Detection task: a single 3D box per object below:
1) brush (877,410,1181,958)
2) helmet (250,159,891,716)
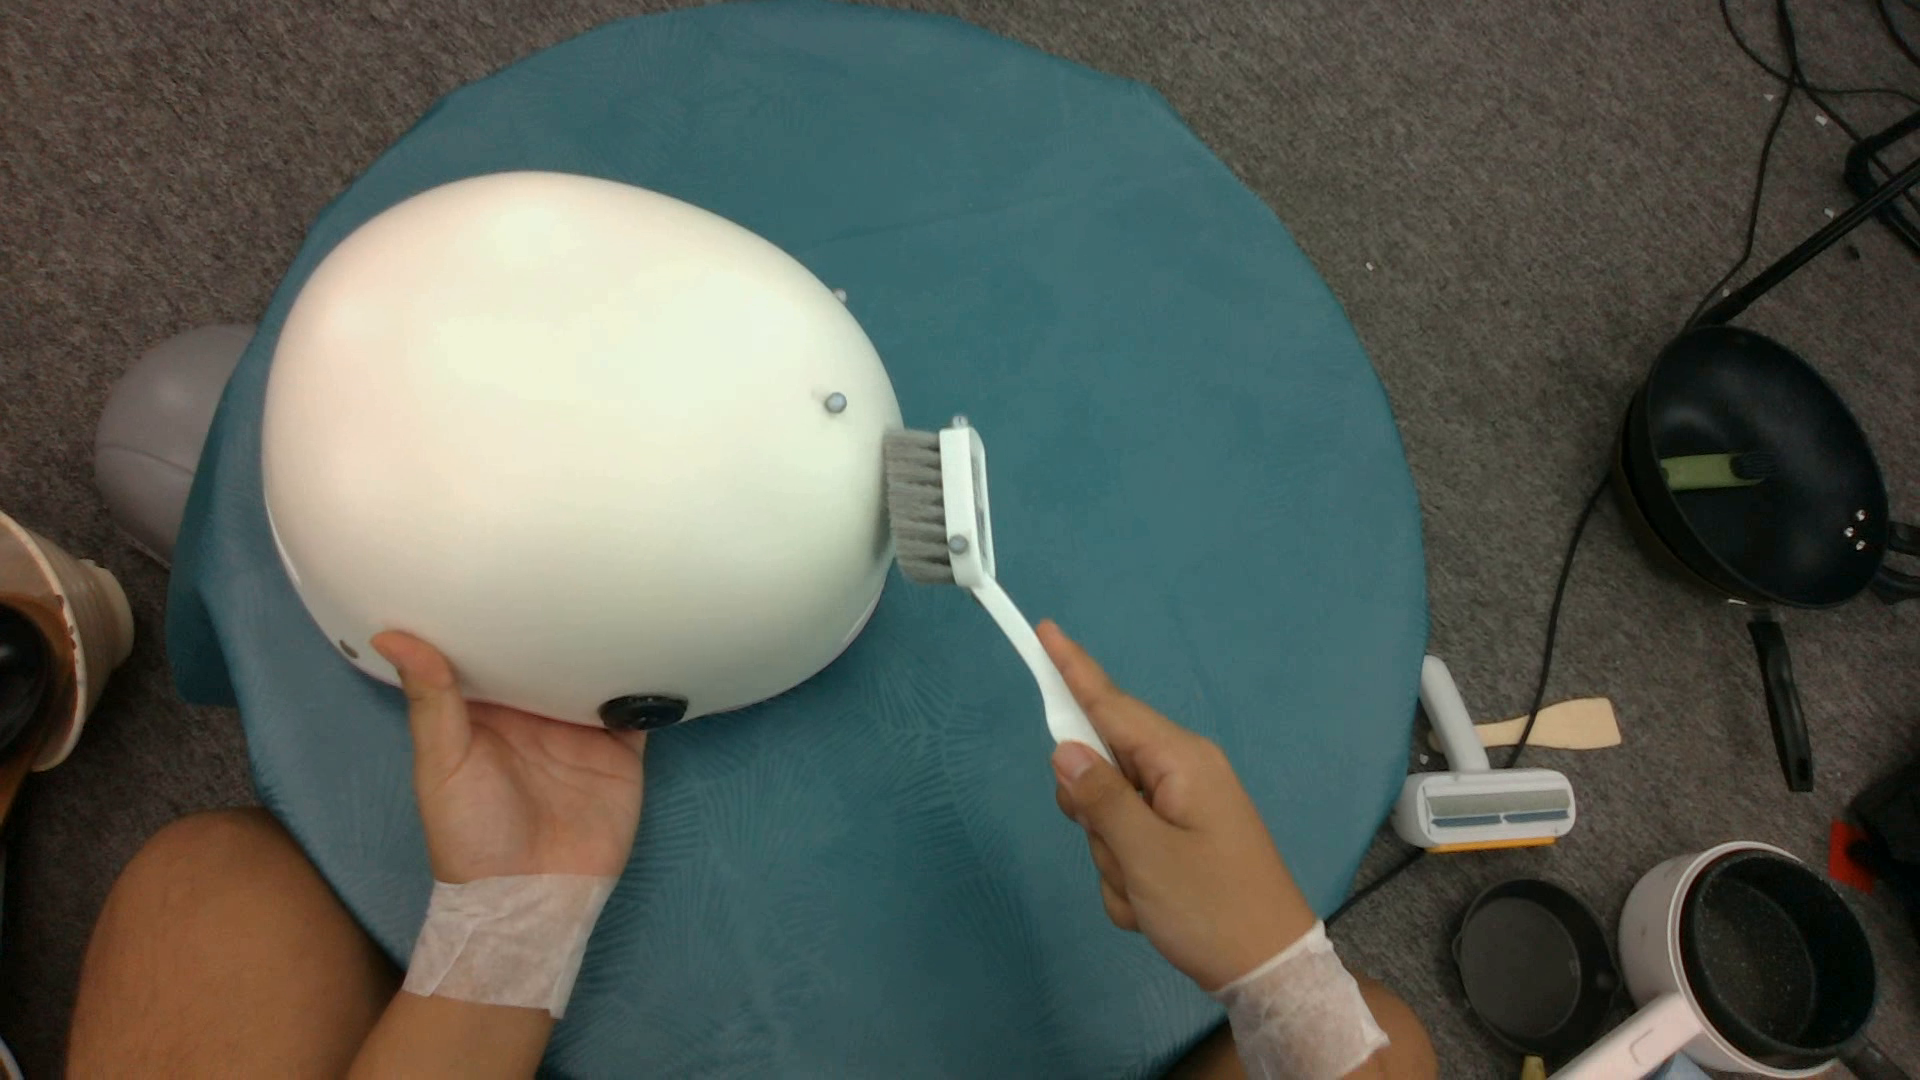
[{"bbox_3d":[0.020,0.055,0.551,0.050,0.034,0.244,-24,75,7],"label":"brush"},{"bbox_3d":[-0.152,-0.055,0.571,0.269,0.166,0.238,6,66,-12],"label":"helmet"}]
